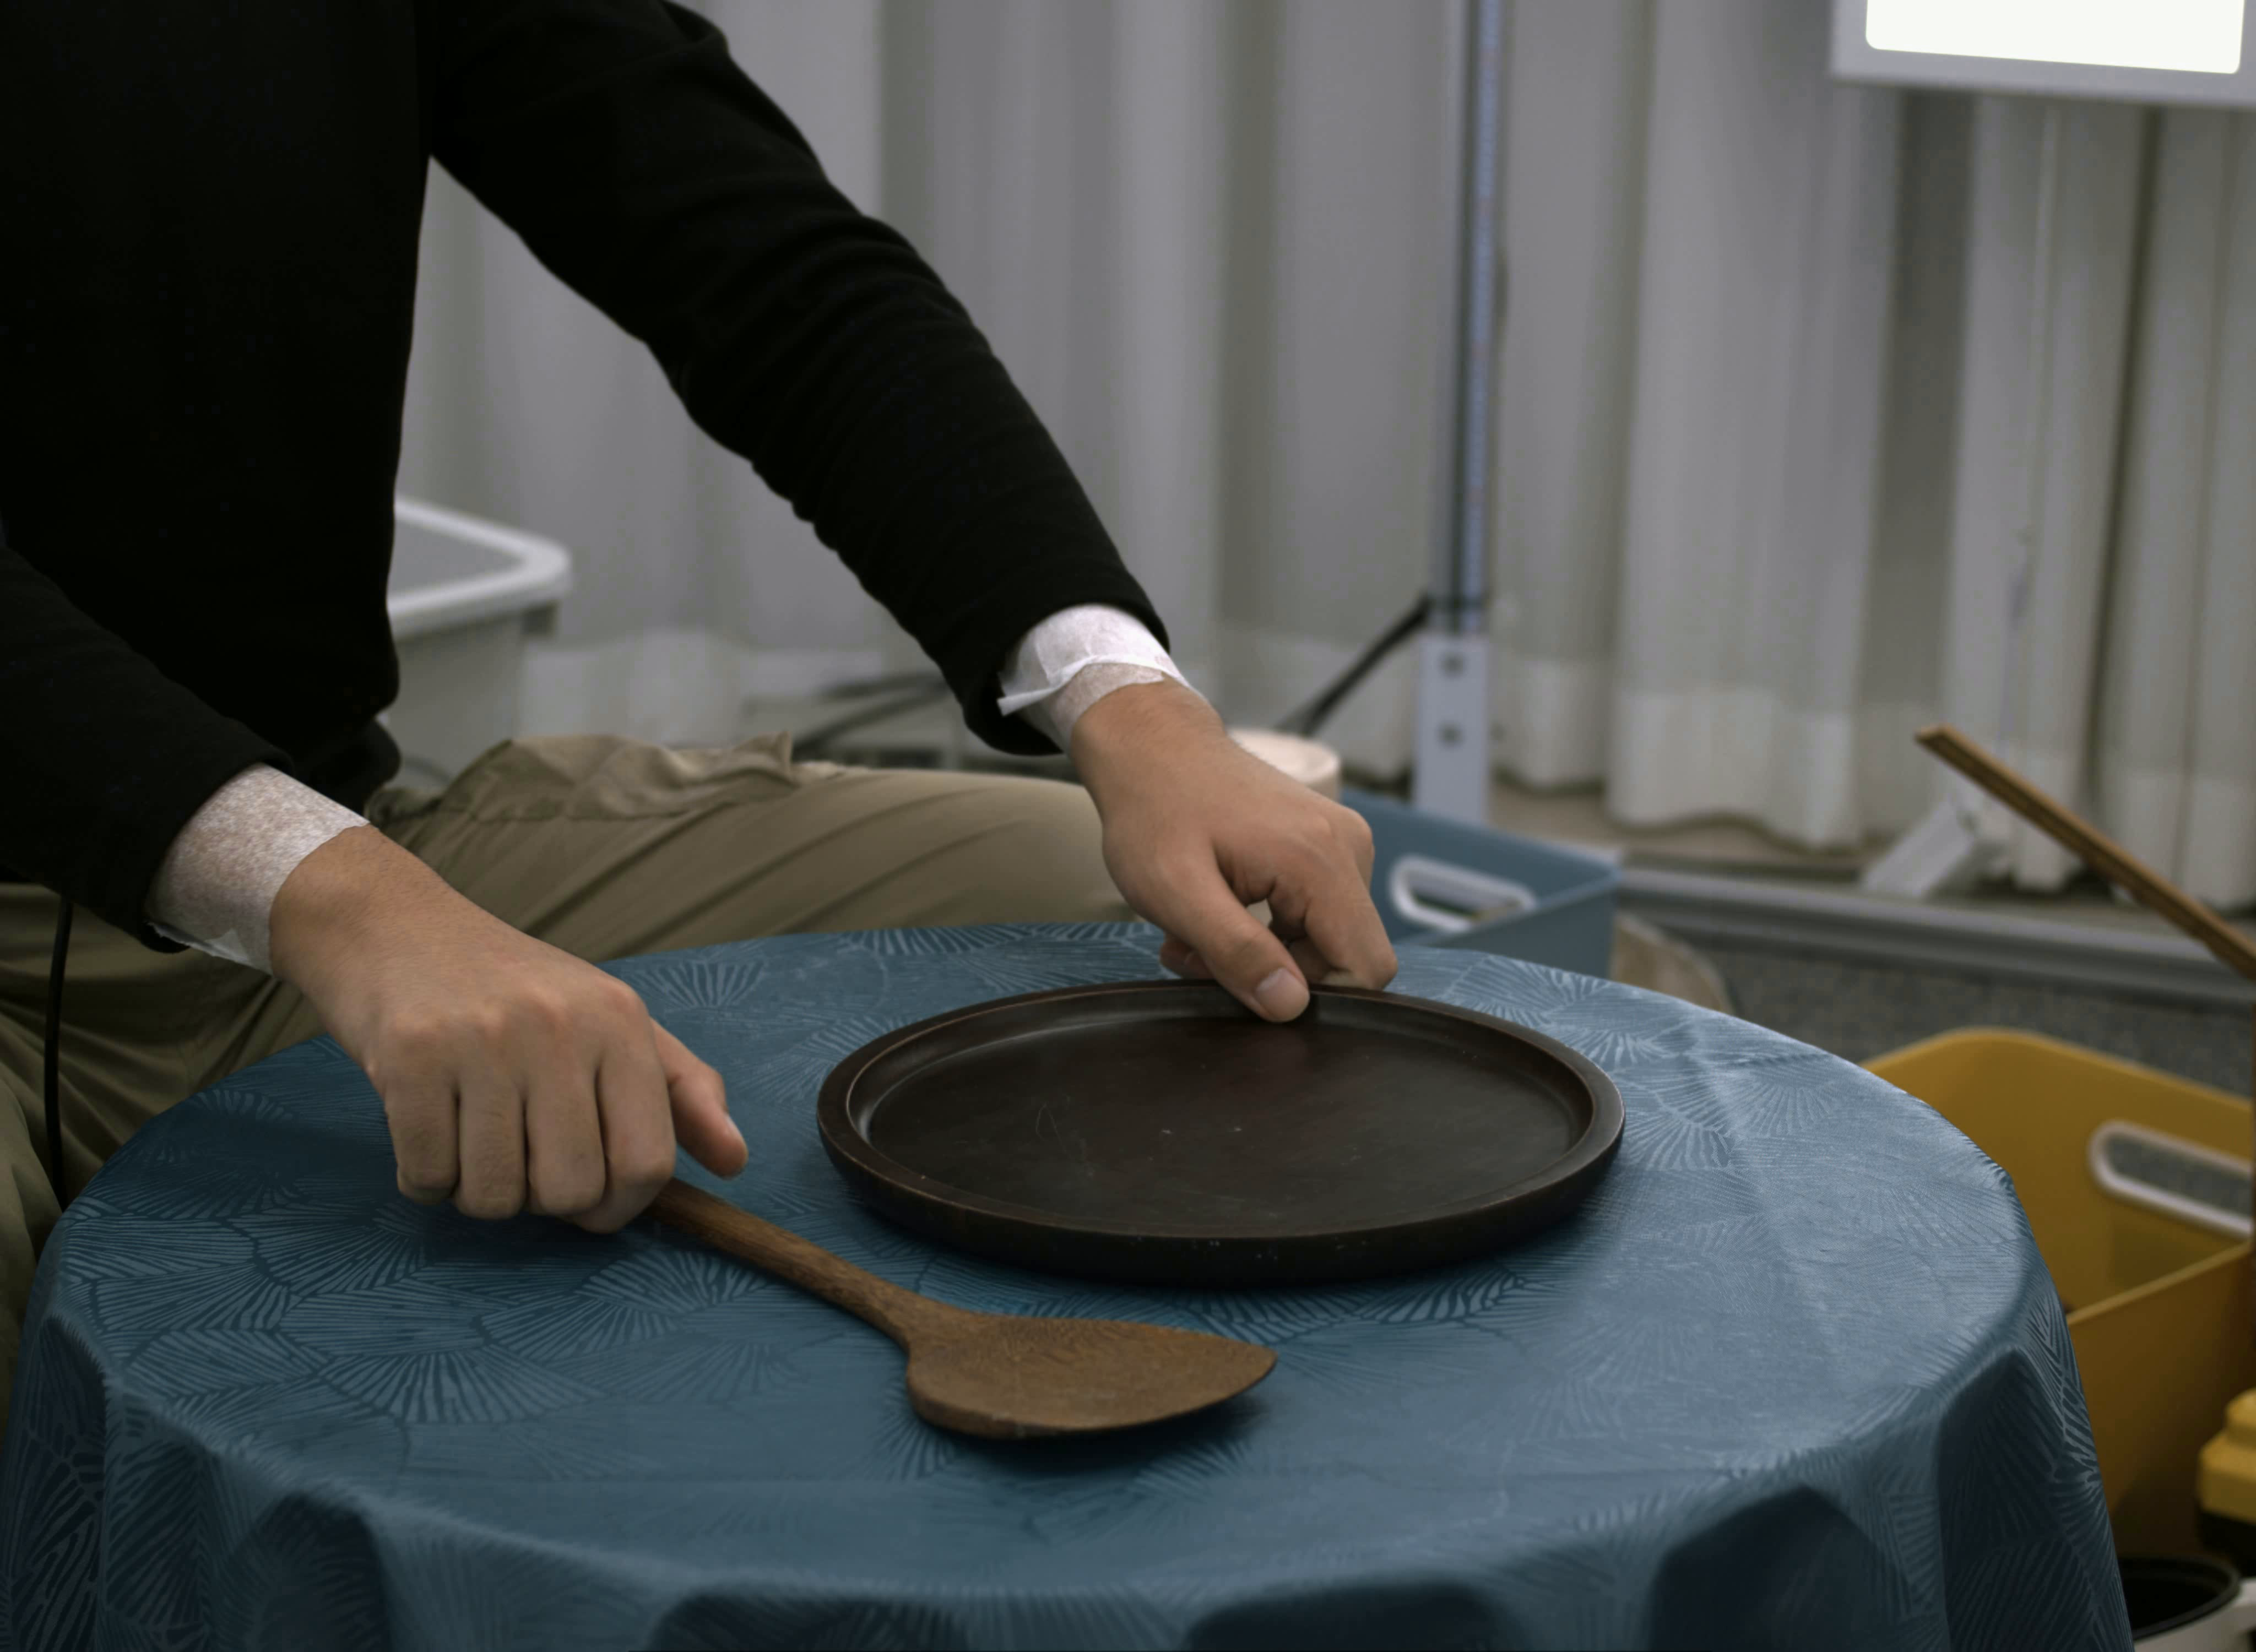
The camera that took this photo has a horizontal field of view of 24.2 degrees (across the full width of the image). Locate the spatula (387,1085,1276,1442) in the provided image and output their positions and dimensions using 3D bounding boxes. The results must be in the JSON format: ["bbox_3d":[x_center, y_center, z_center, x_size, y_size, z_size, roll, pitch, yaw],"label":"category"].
[{"bbox_3d":[-0.109,0.123,1.552,0.096,0.016,0.381,-12,19,-40],"label":"spatula"}]

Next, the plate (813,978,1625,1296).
[{"bbox_3d":[0.028,0.095,1.642,0.254,0.029,0.253,2,17,0],"label":"plate"}]
